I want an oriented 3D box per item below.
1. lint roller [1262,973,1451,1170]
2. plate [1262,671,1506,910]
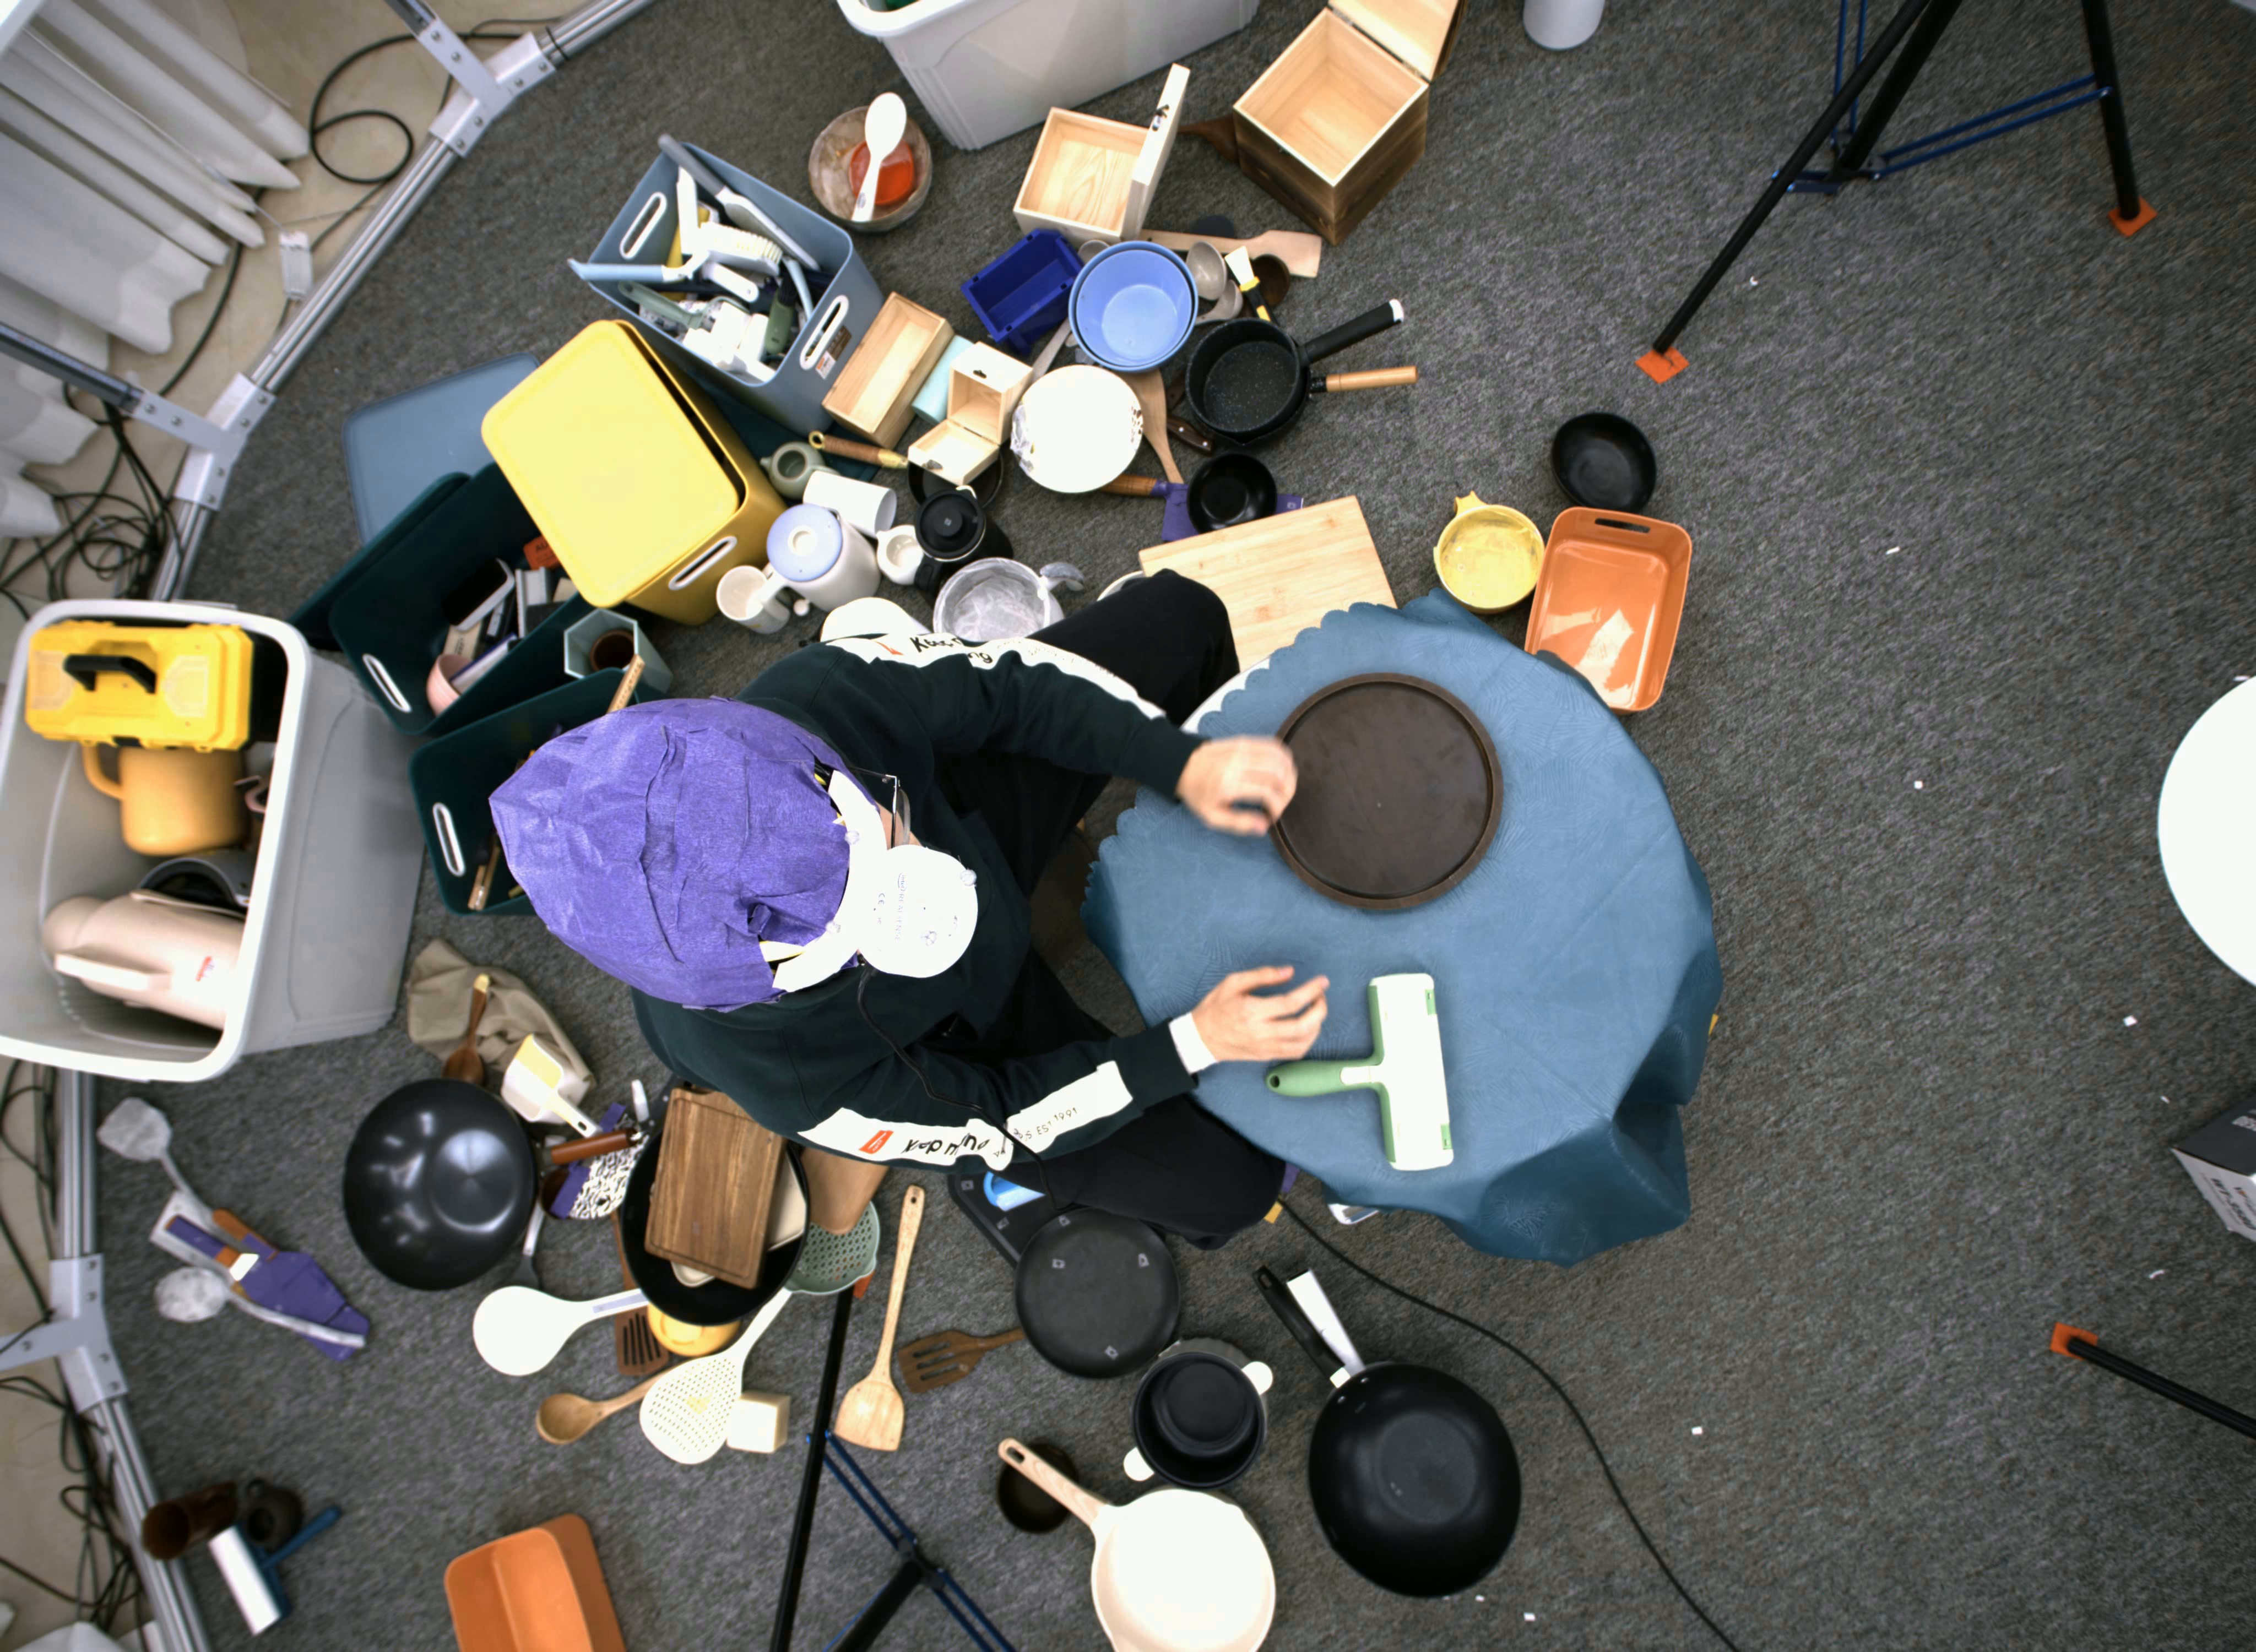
[{"bbox_3d":[0.228,0.254,1.413,0.184,0.082,0.197,-6,86,6],"label":"lint roller"},{"bbox_3d":[0.267,-0.039,1.449,0.256,0.029,0.254,-1,88,9],"label":"plate"}]
